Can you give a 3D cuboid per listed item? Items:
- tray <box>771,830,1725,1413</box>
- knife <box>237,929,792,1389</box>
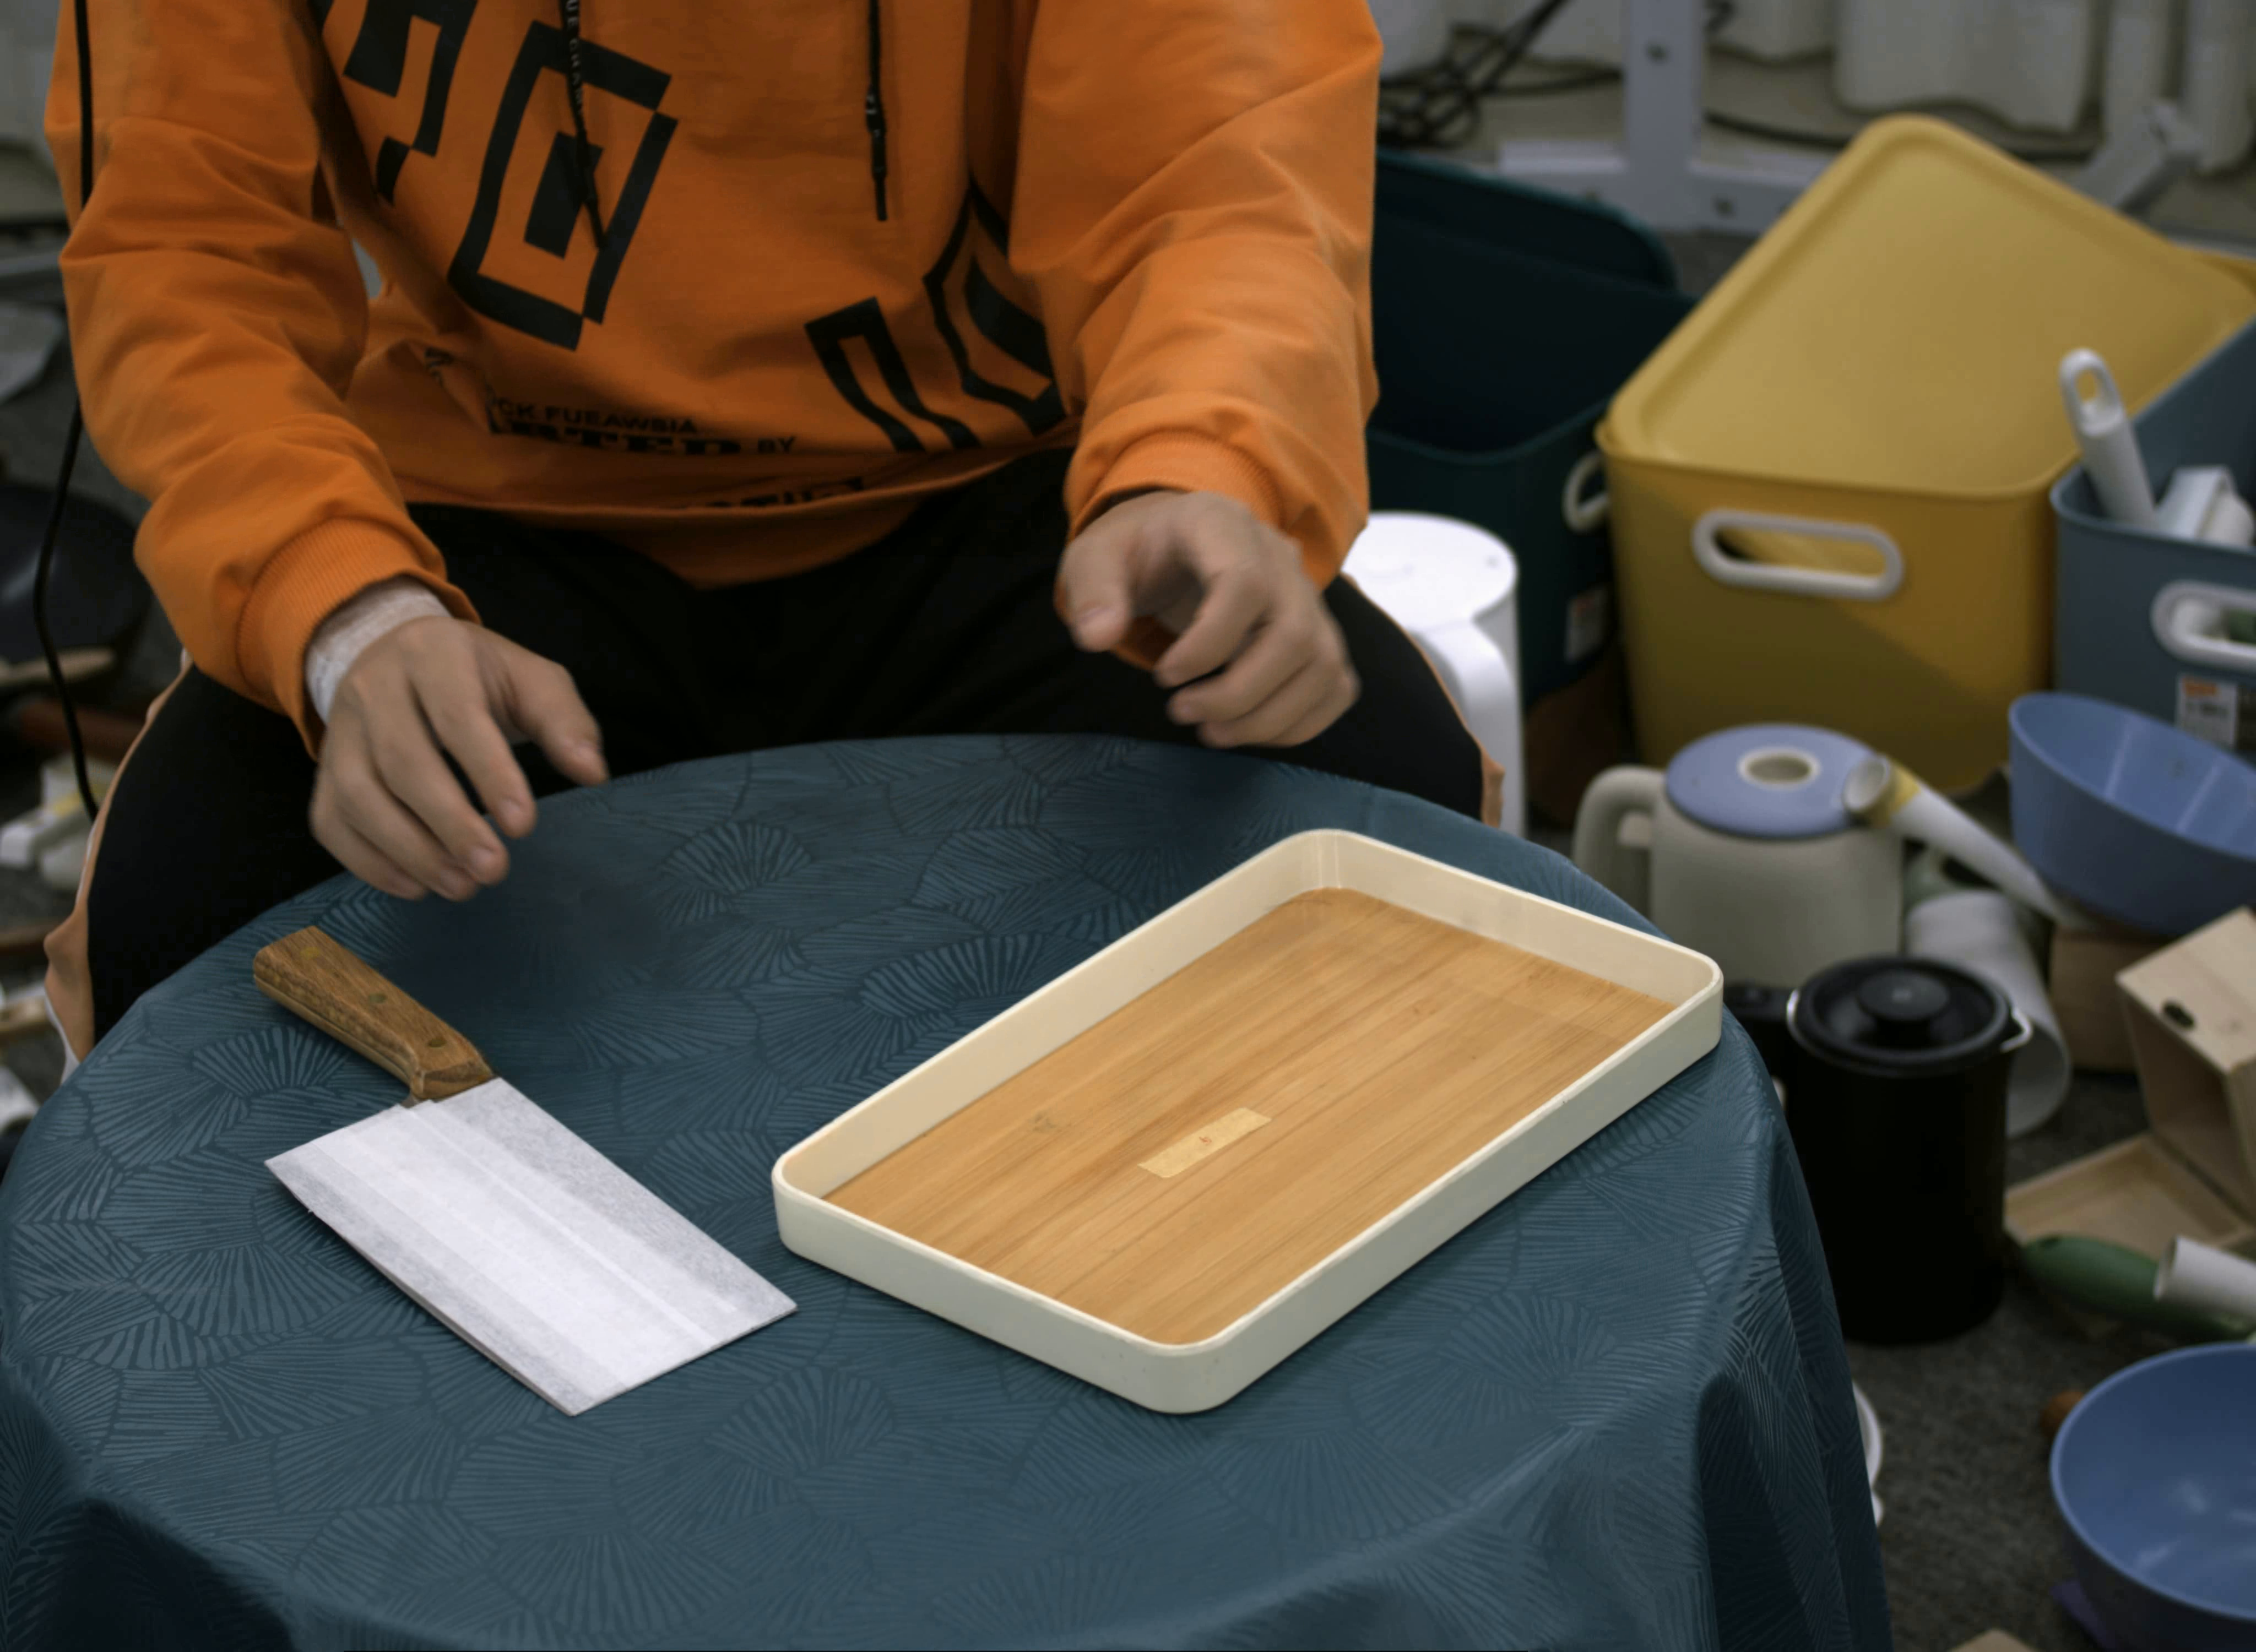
[{"bbox_3d":[0.044,0.093,1.884,0.191,0.027,0.304,19,35,36],"label":"tray"},{"bbox_3d":[-0.232,0.113,1.886,0.094,0.021,0.306,-23,36,-31],"label":"knife"}]
